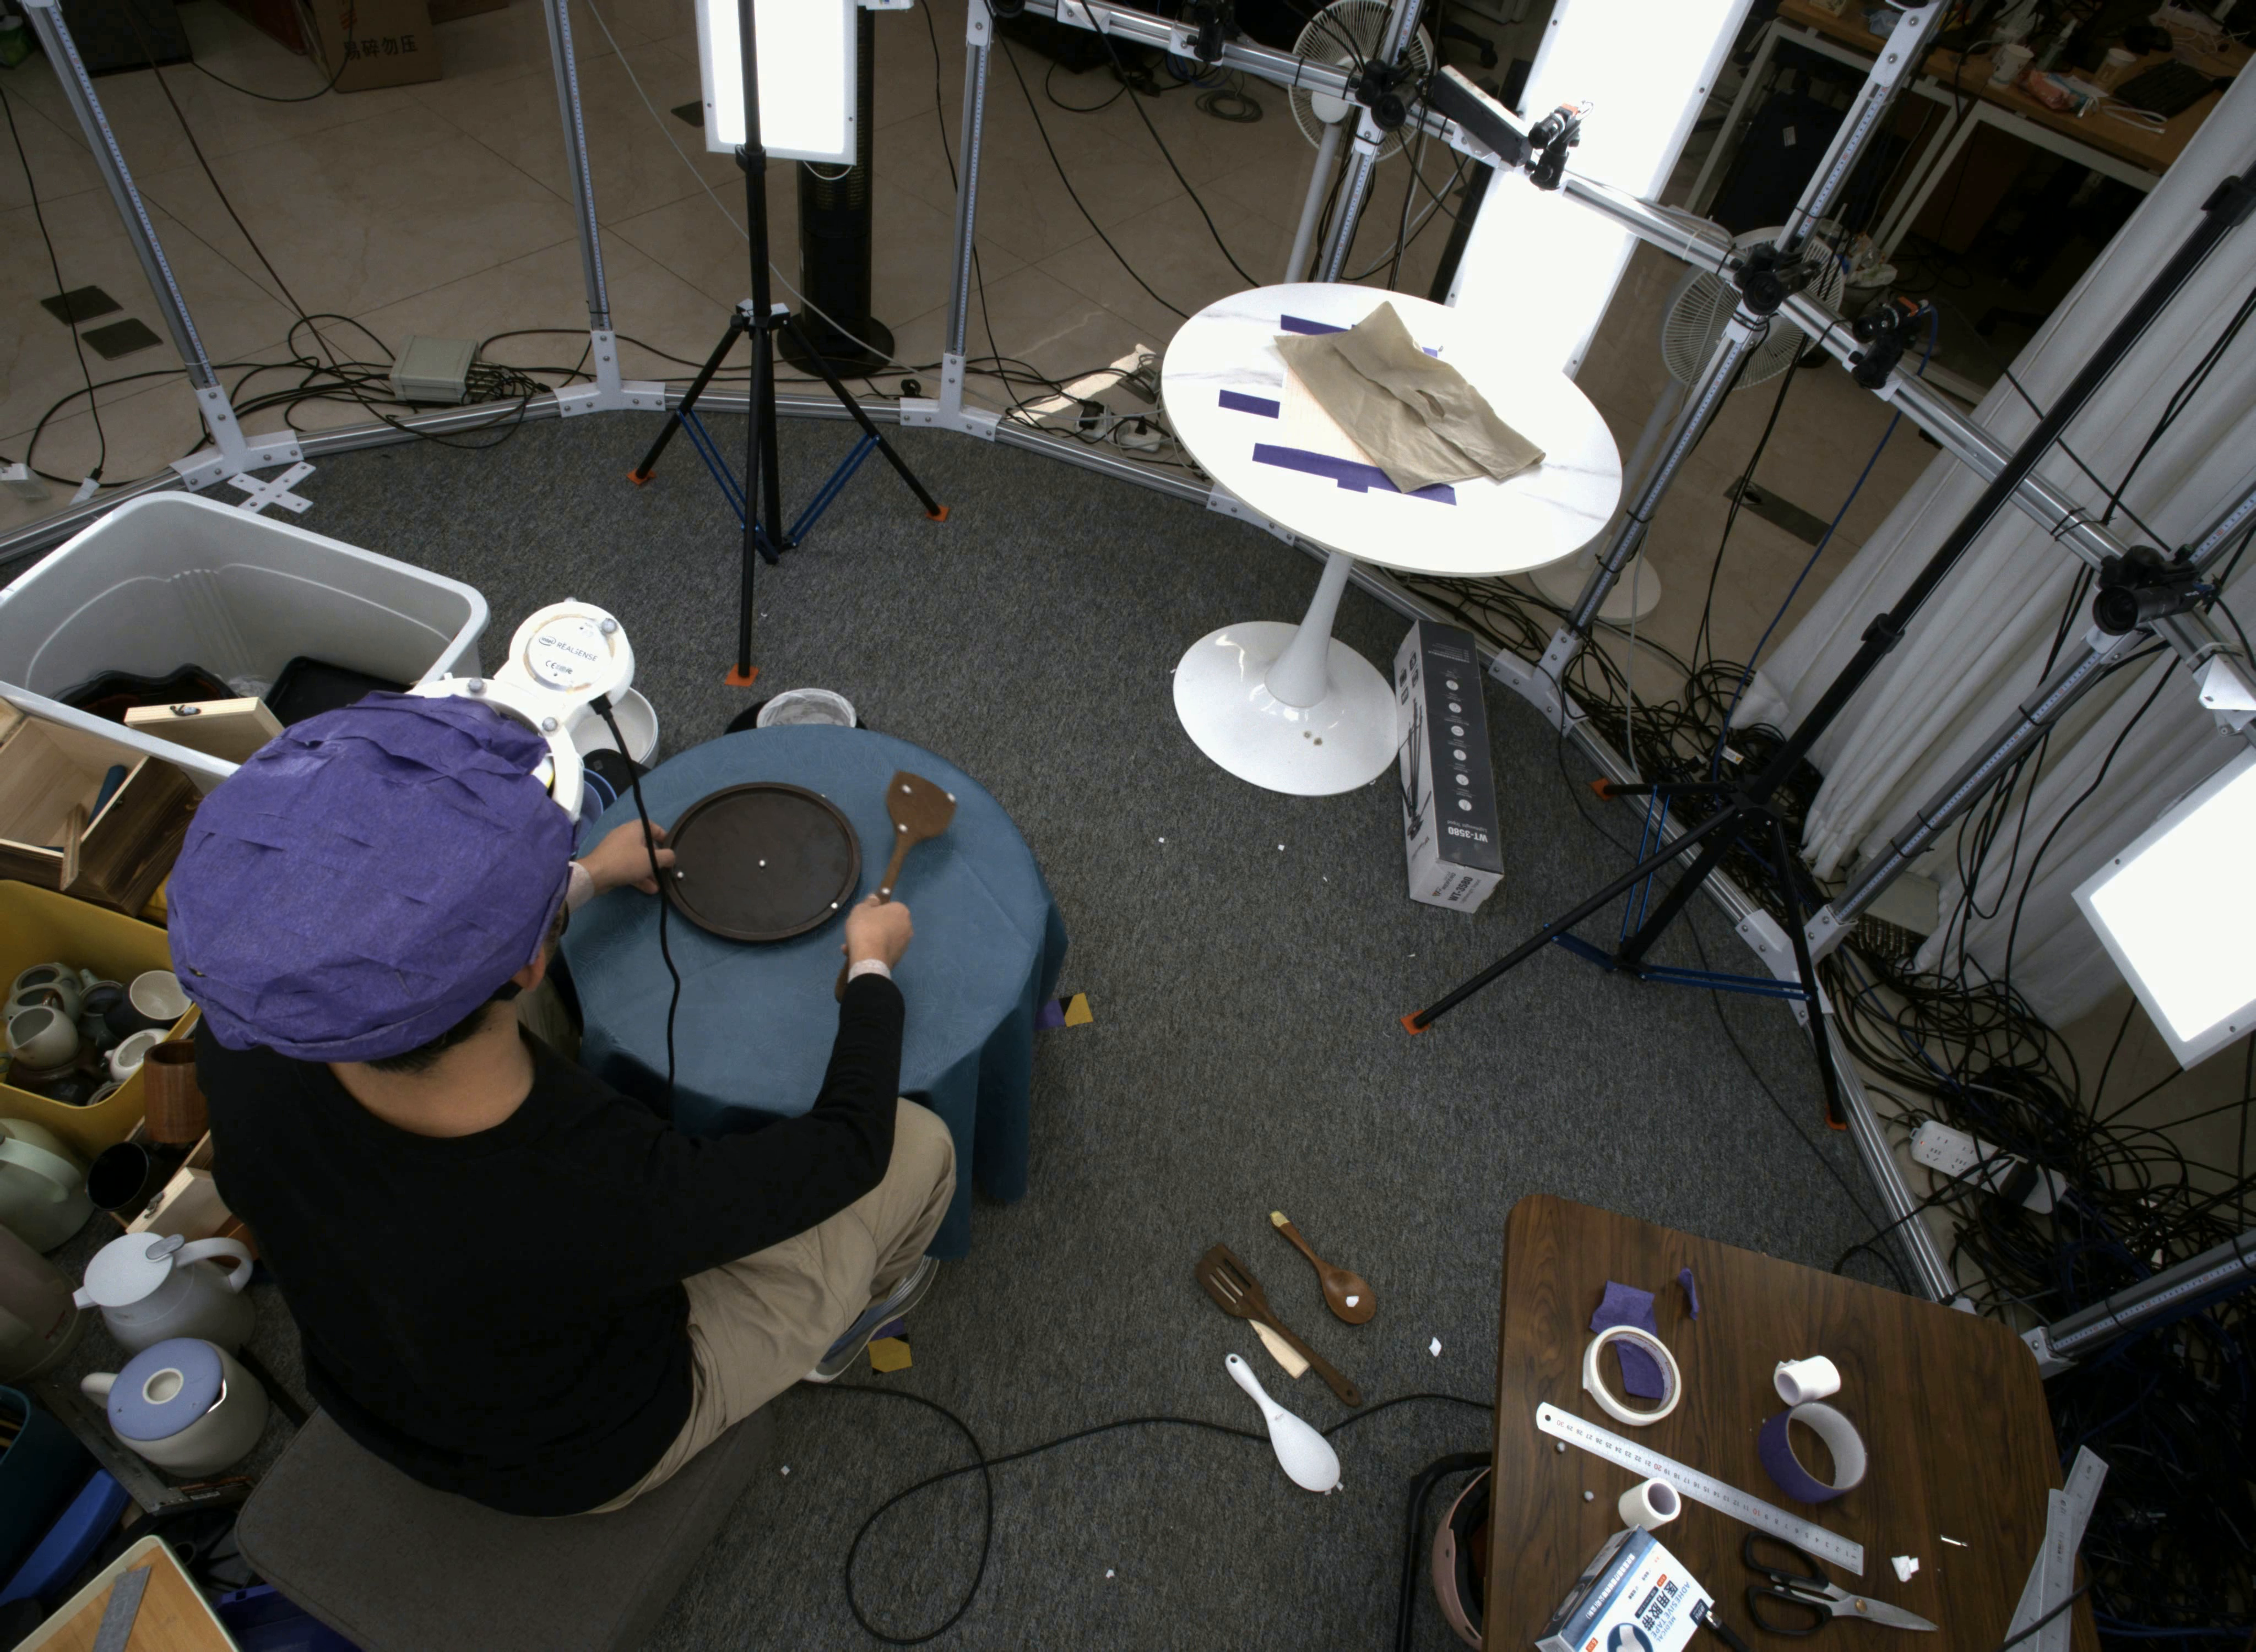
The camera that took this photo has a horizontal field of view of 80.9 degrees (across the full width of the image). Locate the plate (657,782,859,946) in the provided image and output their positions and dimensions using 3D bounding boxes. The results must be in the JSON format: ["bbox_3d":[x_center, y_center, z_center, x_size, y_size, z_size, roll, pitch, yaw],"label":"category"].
[{"bbox_3d":[-0.473,0.045,1.656,0.254,0.029,0.250,9,53,-10],"label":"plate"}]

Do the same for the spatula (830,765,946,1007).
[{"bbox_3d":[-0.304,0.066,1.594,0.098,0.016,0.379,29,42,-19],"label":"spatula"}]
